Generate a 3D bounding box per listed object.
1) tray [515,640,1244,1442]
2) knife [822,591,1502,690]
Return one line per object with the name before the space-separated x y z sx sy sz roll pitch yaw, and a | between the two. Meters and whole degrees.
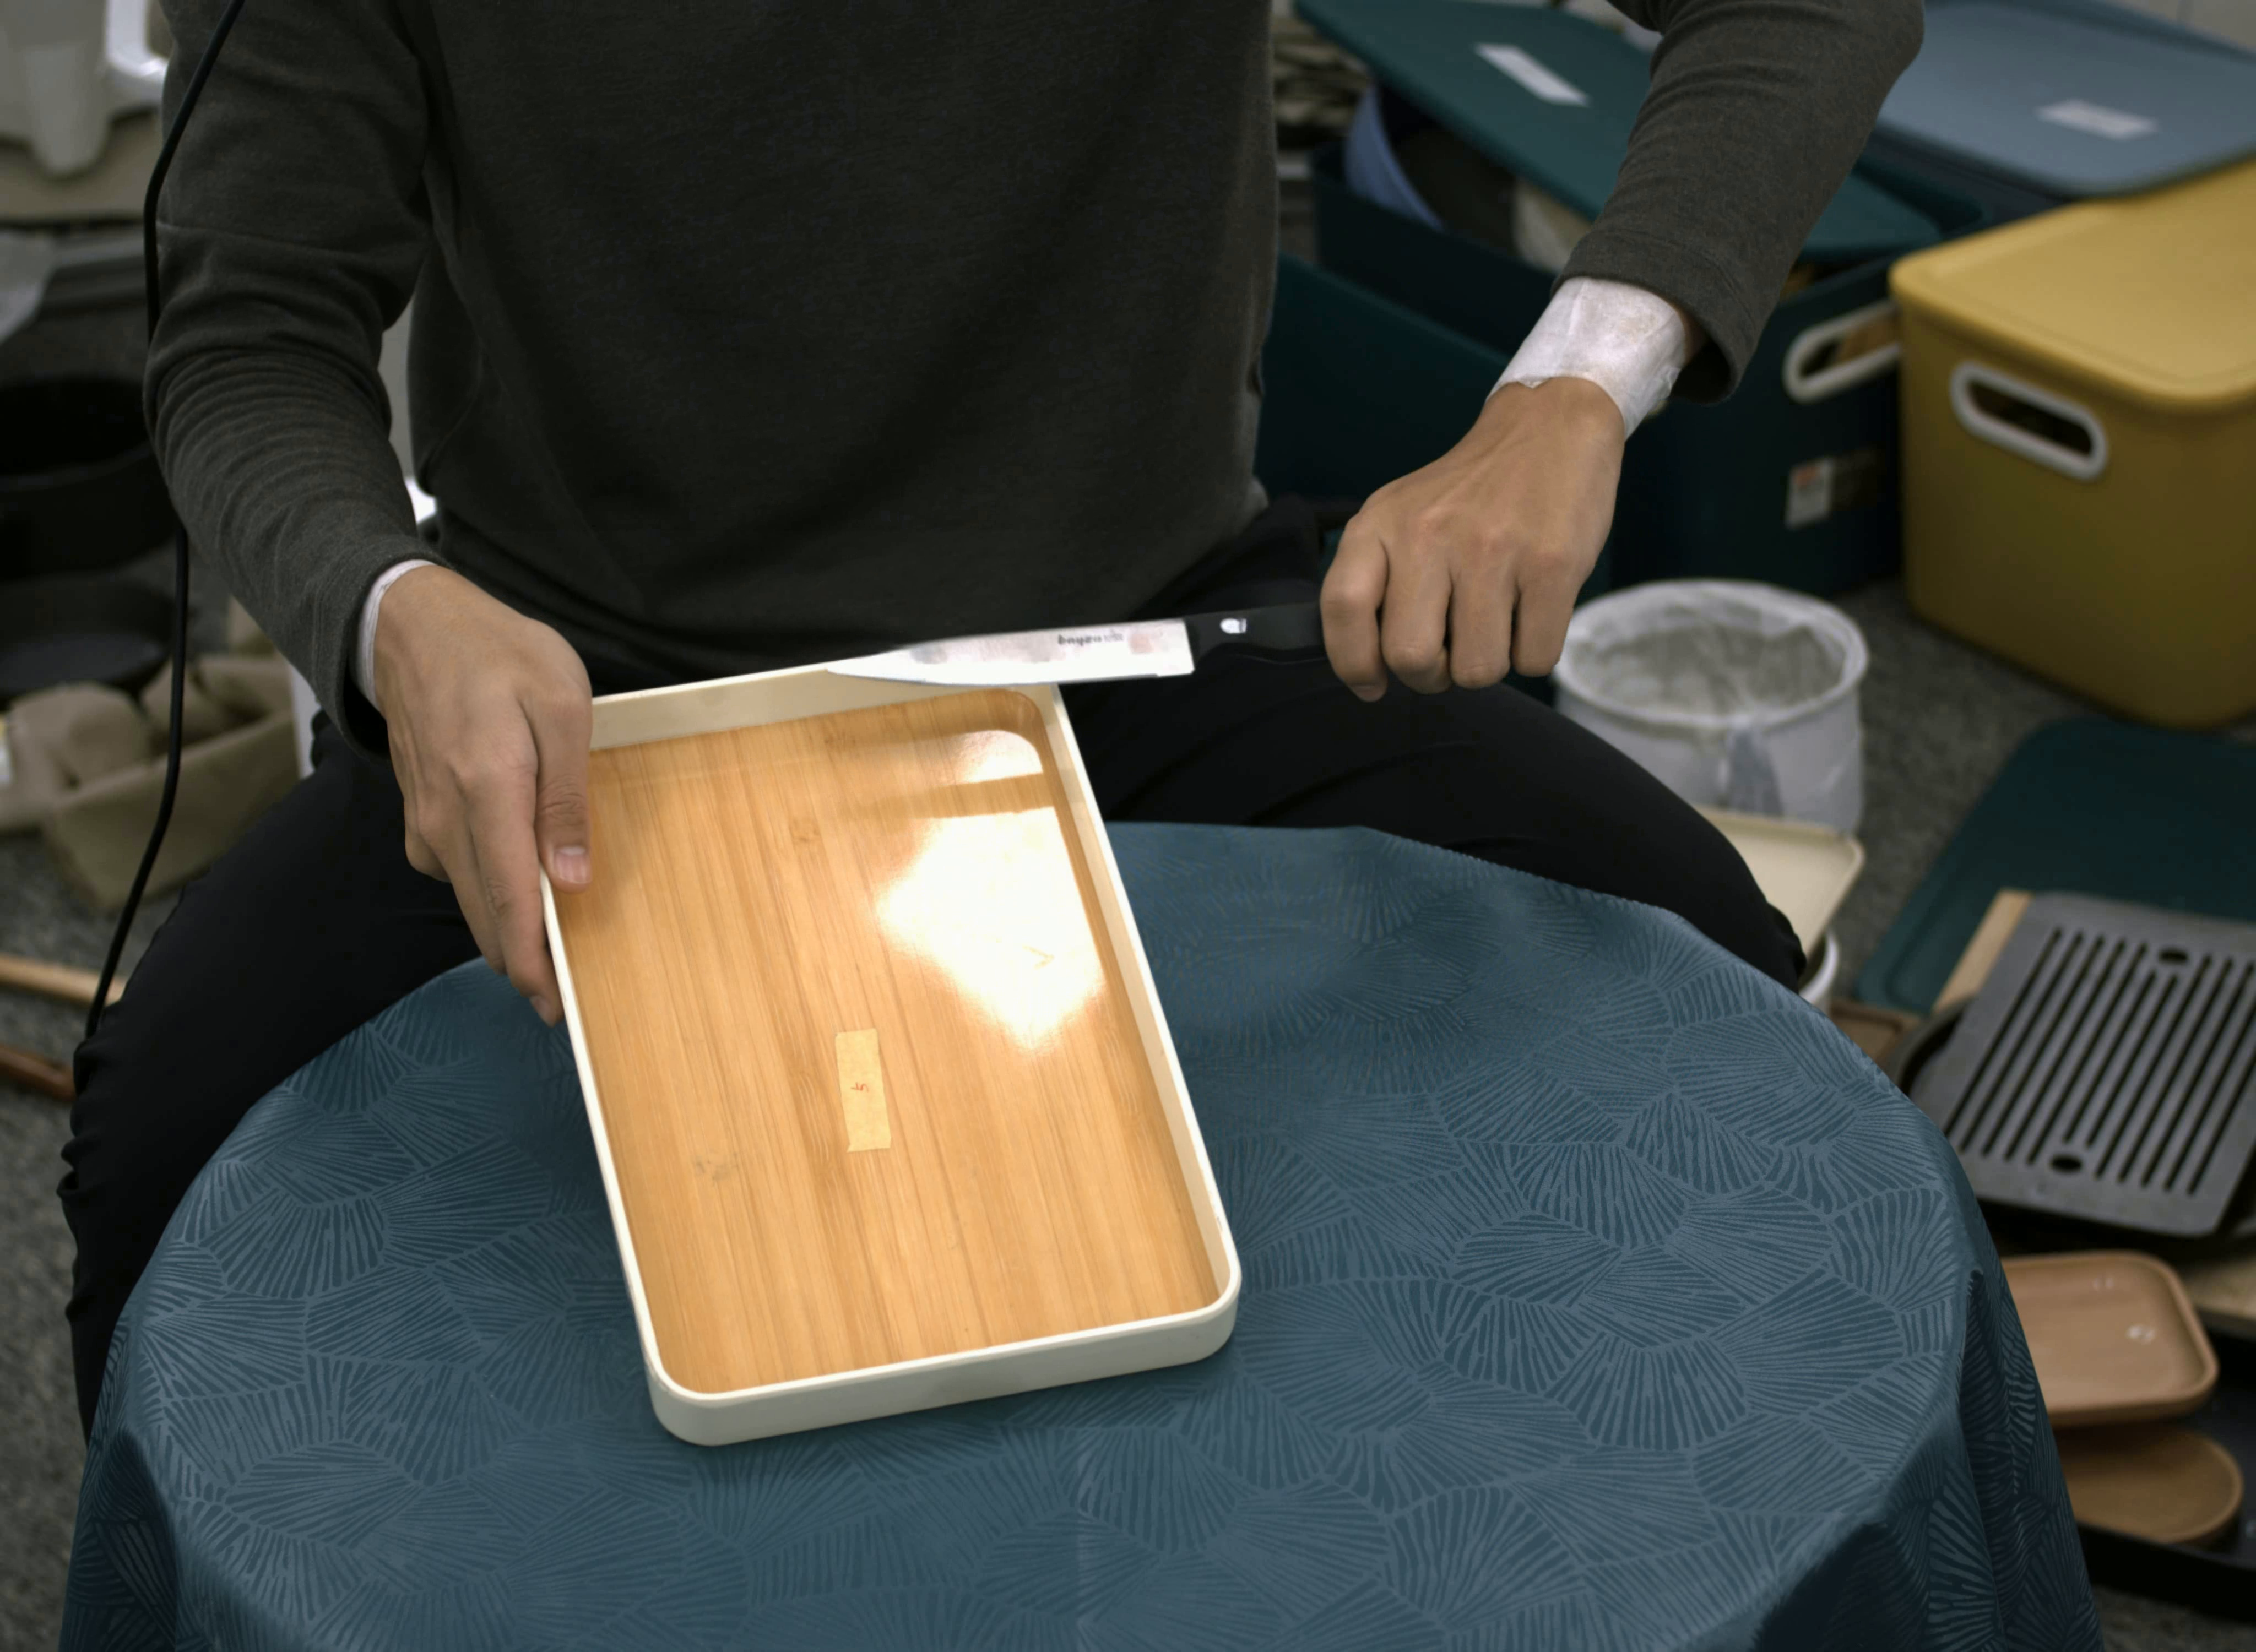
tray | -0.086 0.064 1.841 0.191 0.027 0.305 -7 48 -11
knife | 0.012 -0.063 1.932 0.238 0.016 0.025 -5 58 -10
